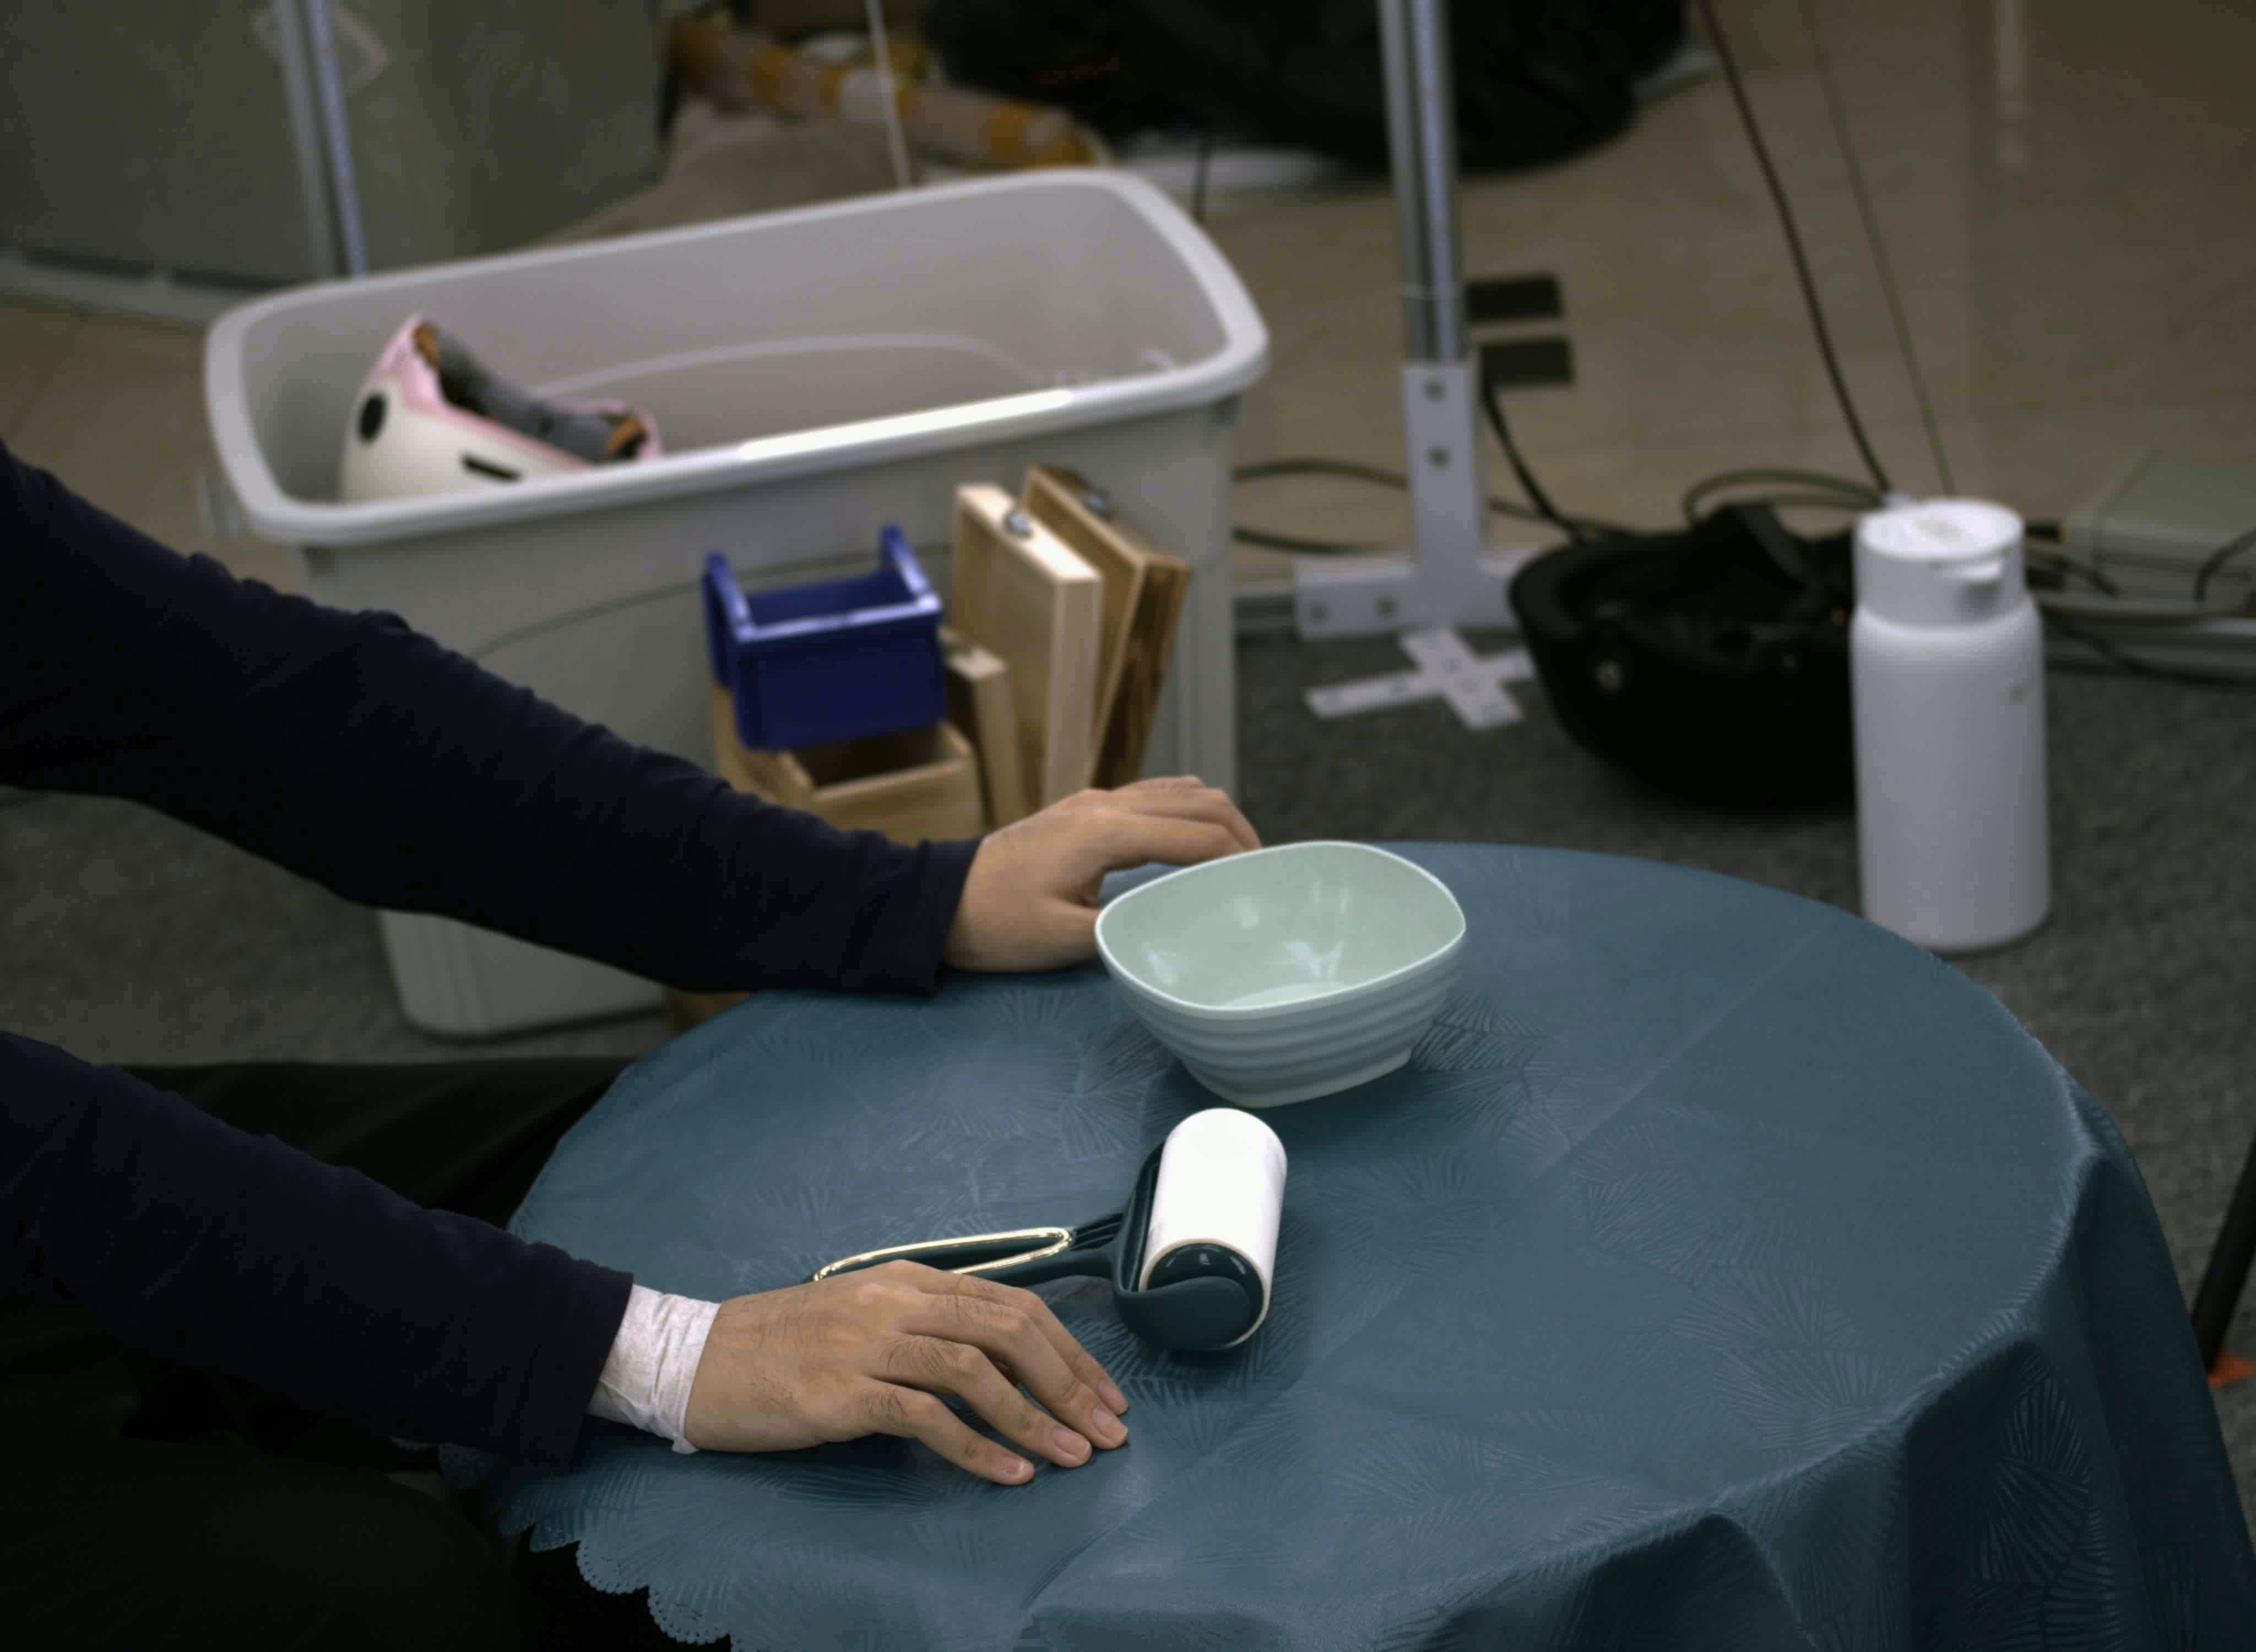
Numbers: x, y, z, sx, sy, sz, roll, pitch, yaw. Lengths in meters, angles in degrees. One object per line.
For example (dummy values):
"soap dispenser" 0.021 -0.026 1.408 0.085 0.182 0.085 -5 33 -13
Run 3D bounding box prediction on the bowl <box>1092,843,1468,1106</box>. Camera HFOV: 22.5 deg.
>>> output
"bowl" 0.061 0.063 2.231 0.151 0.059 0.149 -3 25 1

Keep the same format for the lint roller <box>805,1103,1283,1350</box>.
"lint roller" -0.034 0.154 2.080 0.180 0.049 0.132 -6 25 8
